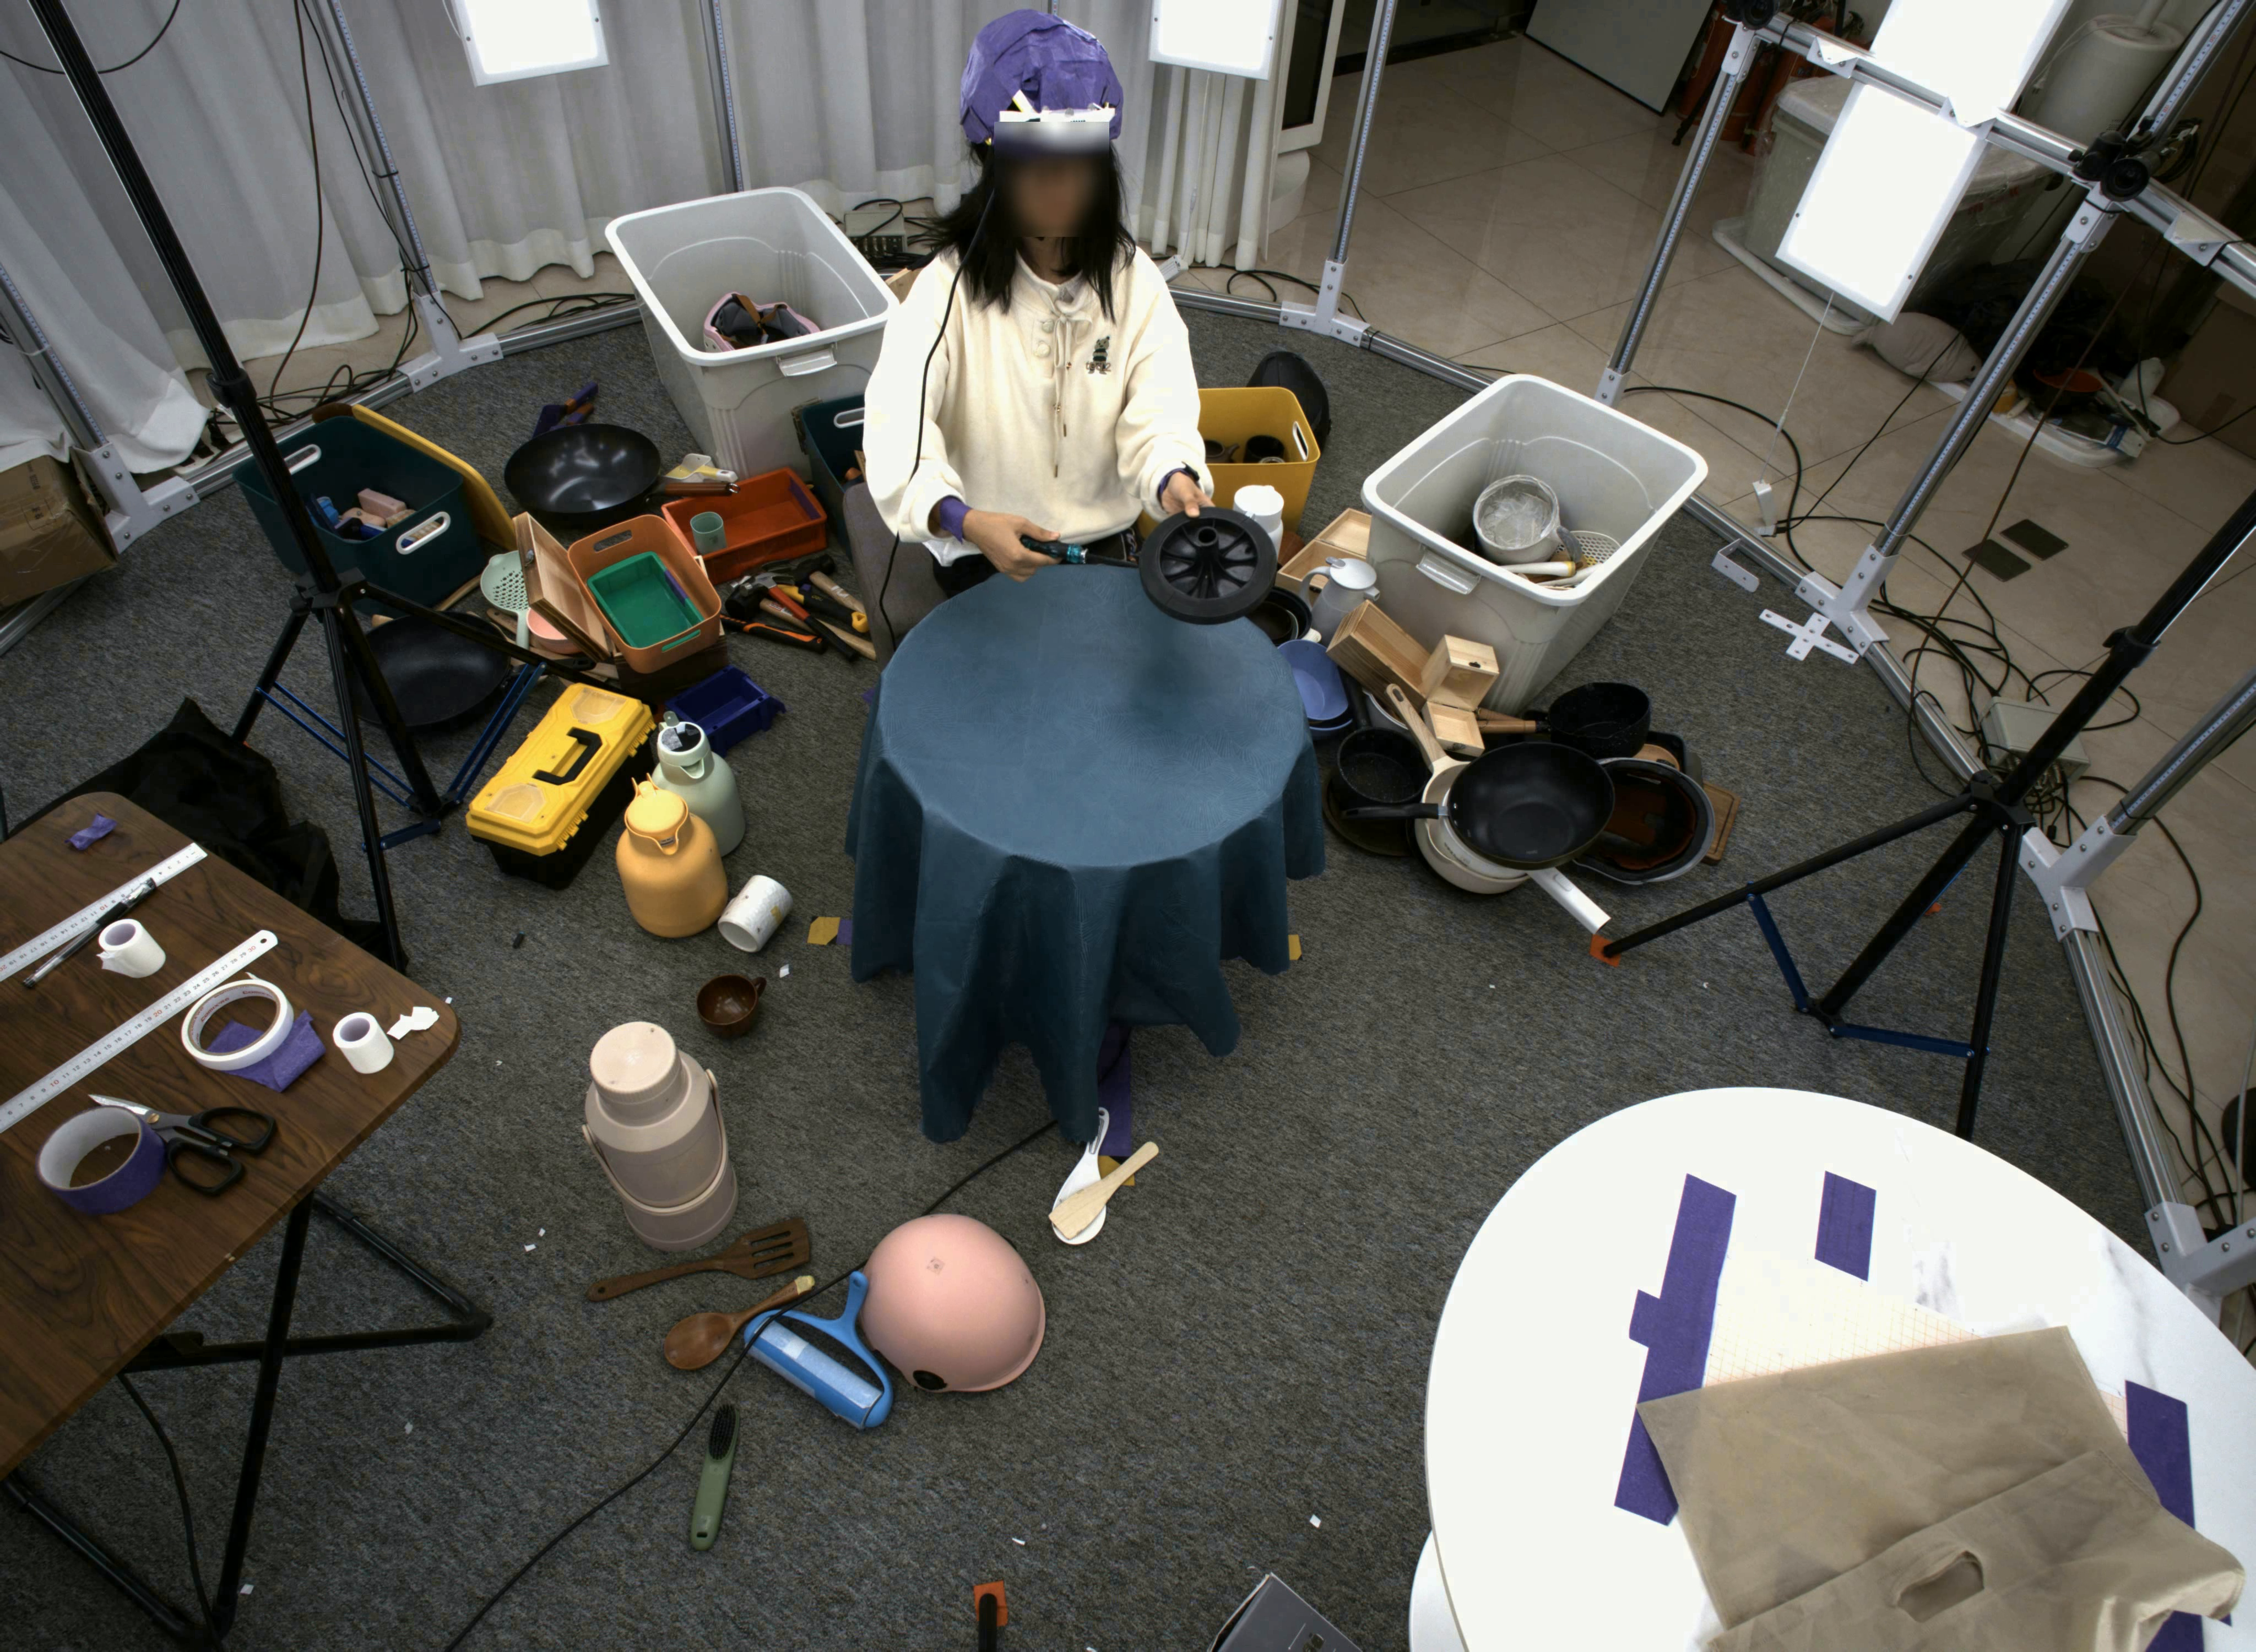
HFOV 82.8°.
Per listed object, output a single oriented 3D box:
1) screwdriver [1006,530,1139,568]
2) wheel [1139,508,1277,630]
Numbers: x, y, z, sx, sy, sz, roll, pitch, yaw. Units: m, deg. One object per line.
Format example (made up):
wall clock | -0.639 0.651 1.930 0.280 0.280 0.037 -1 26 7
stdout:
screwdriver | -0.076 -0.377 1.775 0.190 0.033 0.034 14 50 10
wheel | 0.108 -0.363 1.741 0.187 0.077 0.194 -15 64 -3
